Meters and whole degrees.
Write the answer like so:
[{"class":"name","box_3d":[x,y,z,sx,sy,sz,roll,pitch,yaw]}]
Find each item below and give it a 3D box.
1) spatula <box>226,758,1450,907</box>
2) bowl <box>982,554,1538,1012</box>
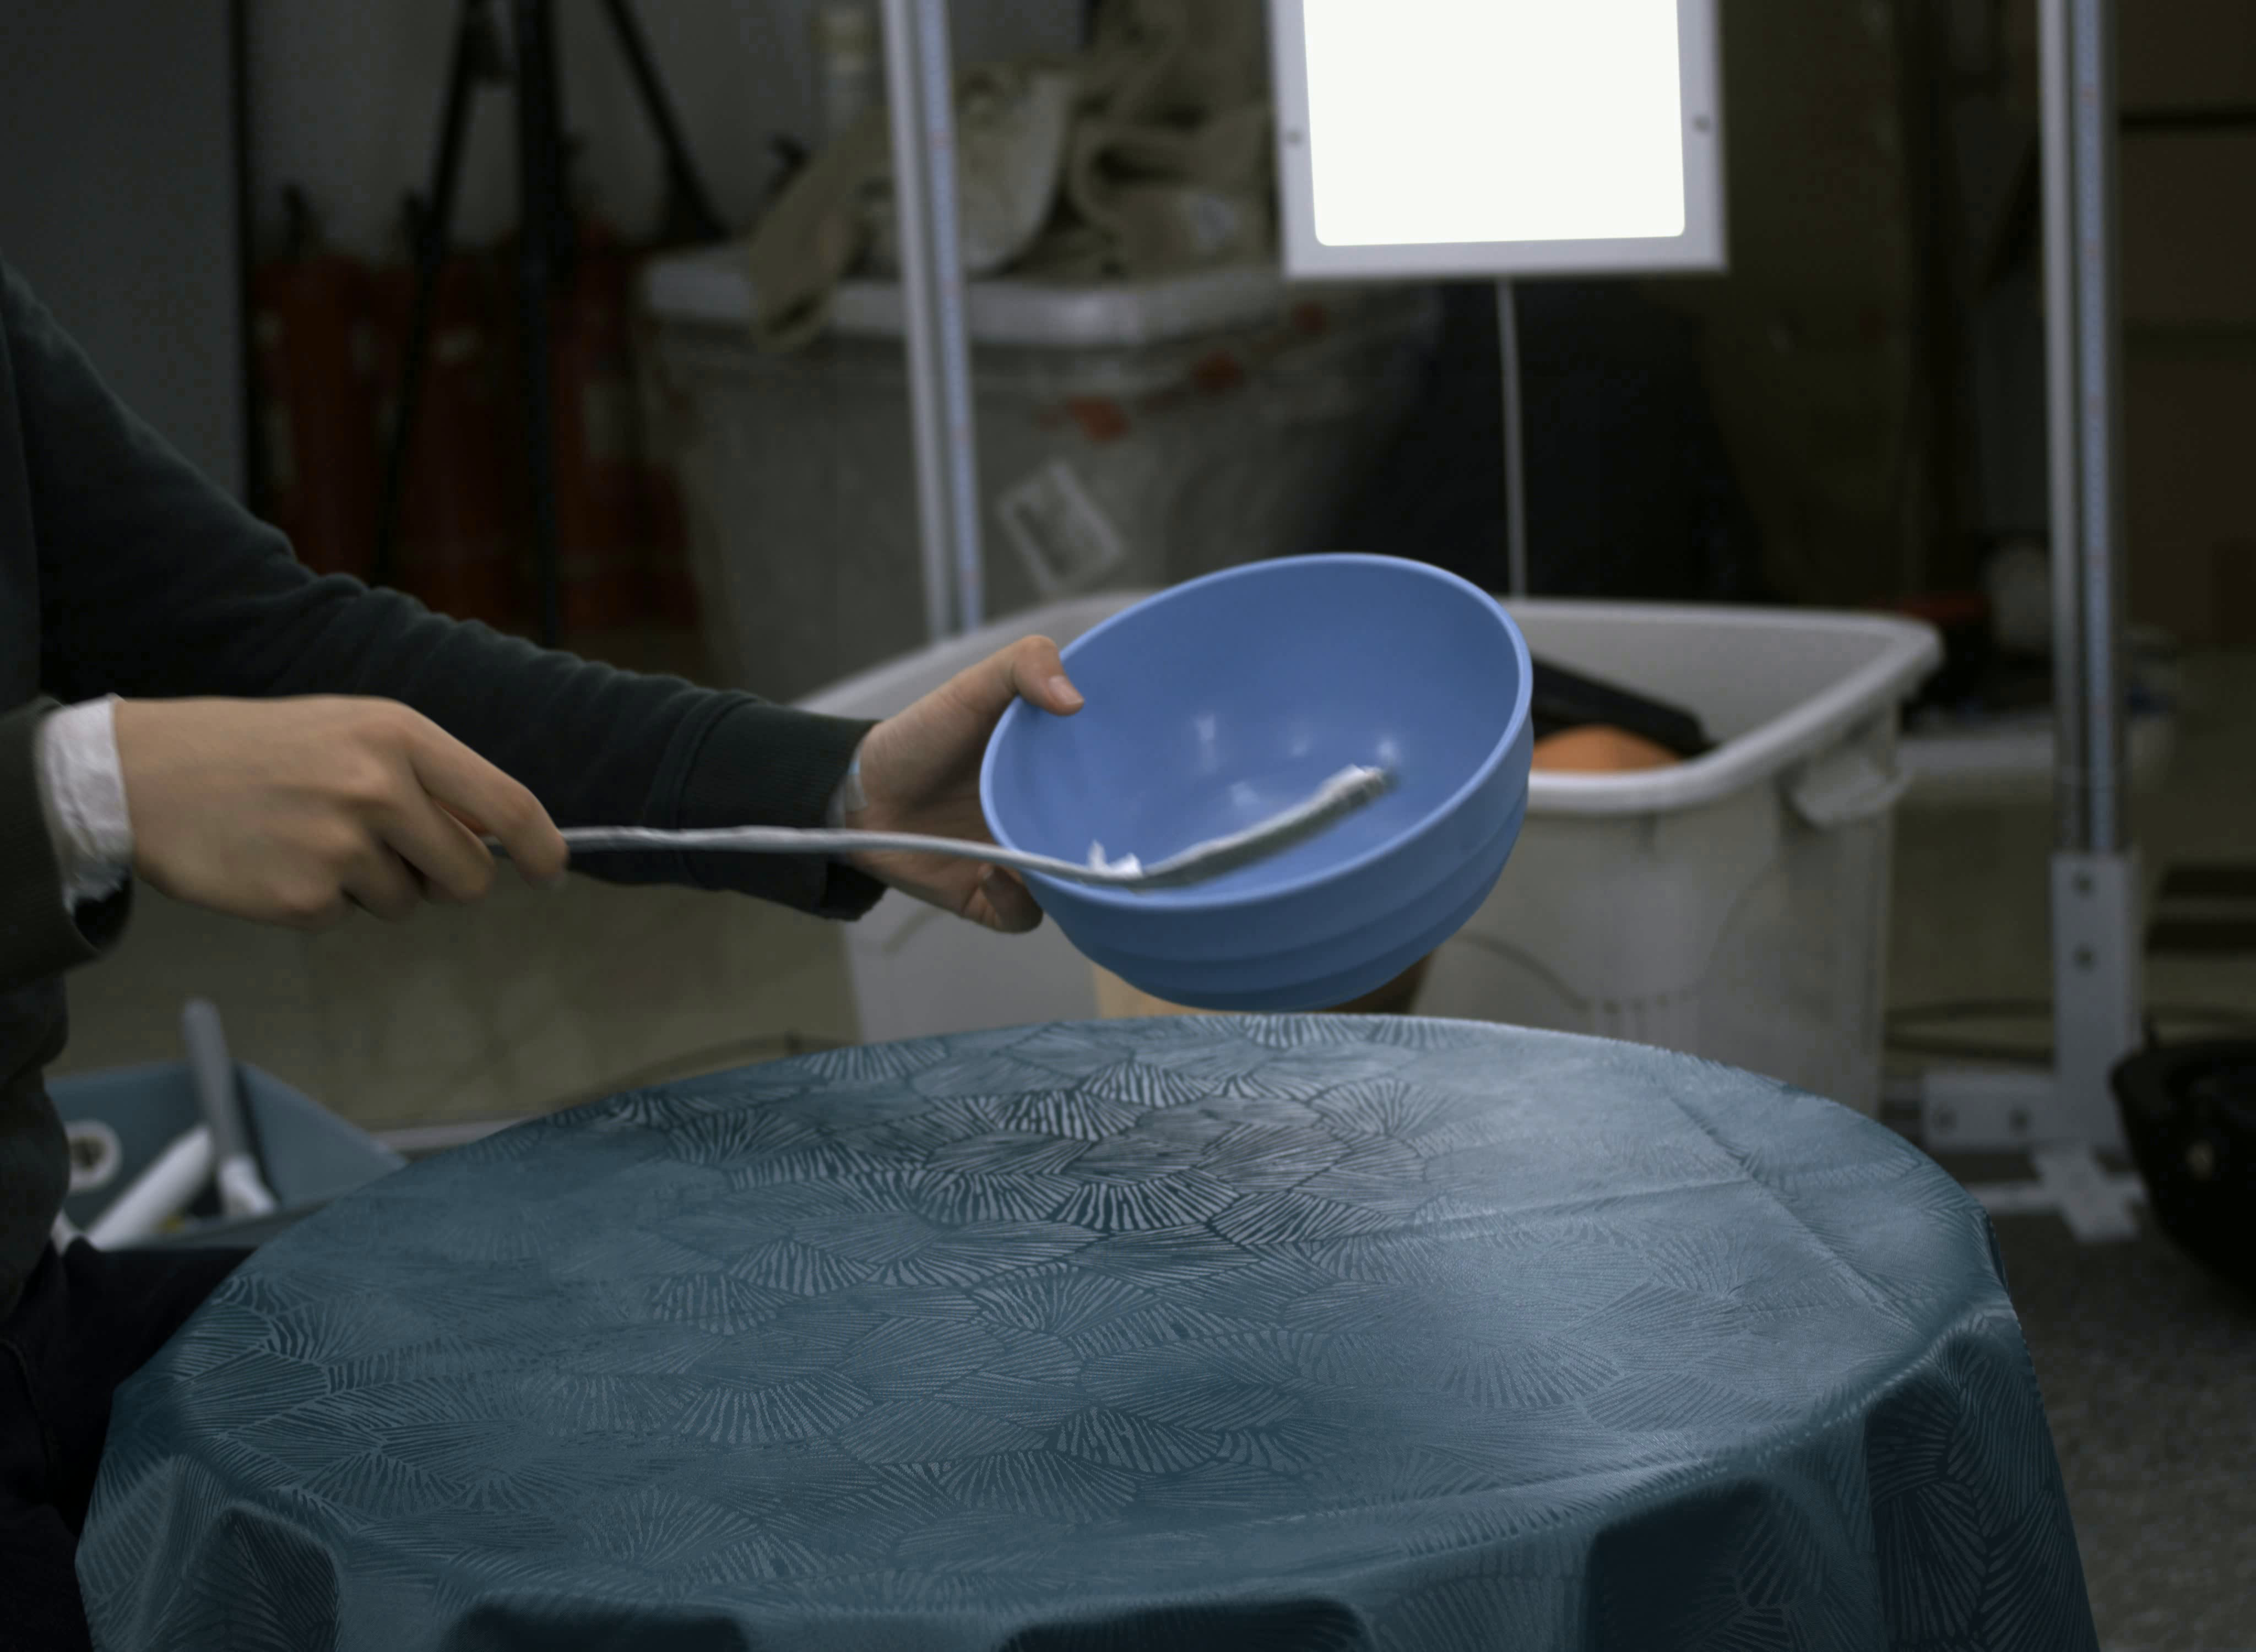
[{"class":"spatula","box_3d":[-0.084,0.002,1.635,0.362,0.045,0.099,0,-2,-7]},{"class":"bowl","box_3d":[0.055,0.000,1.912,0.197,0.095,0.196,-13,35,7]}]
